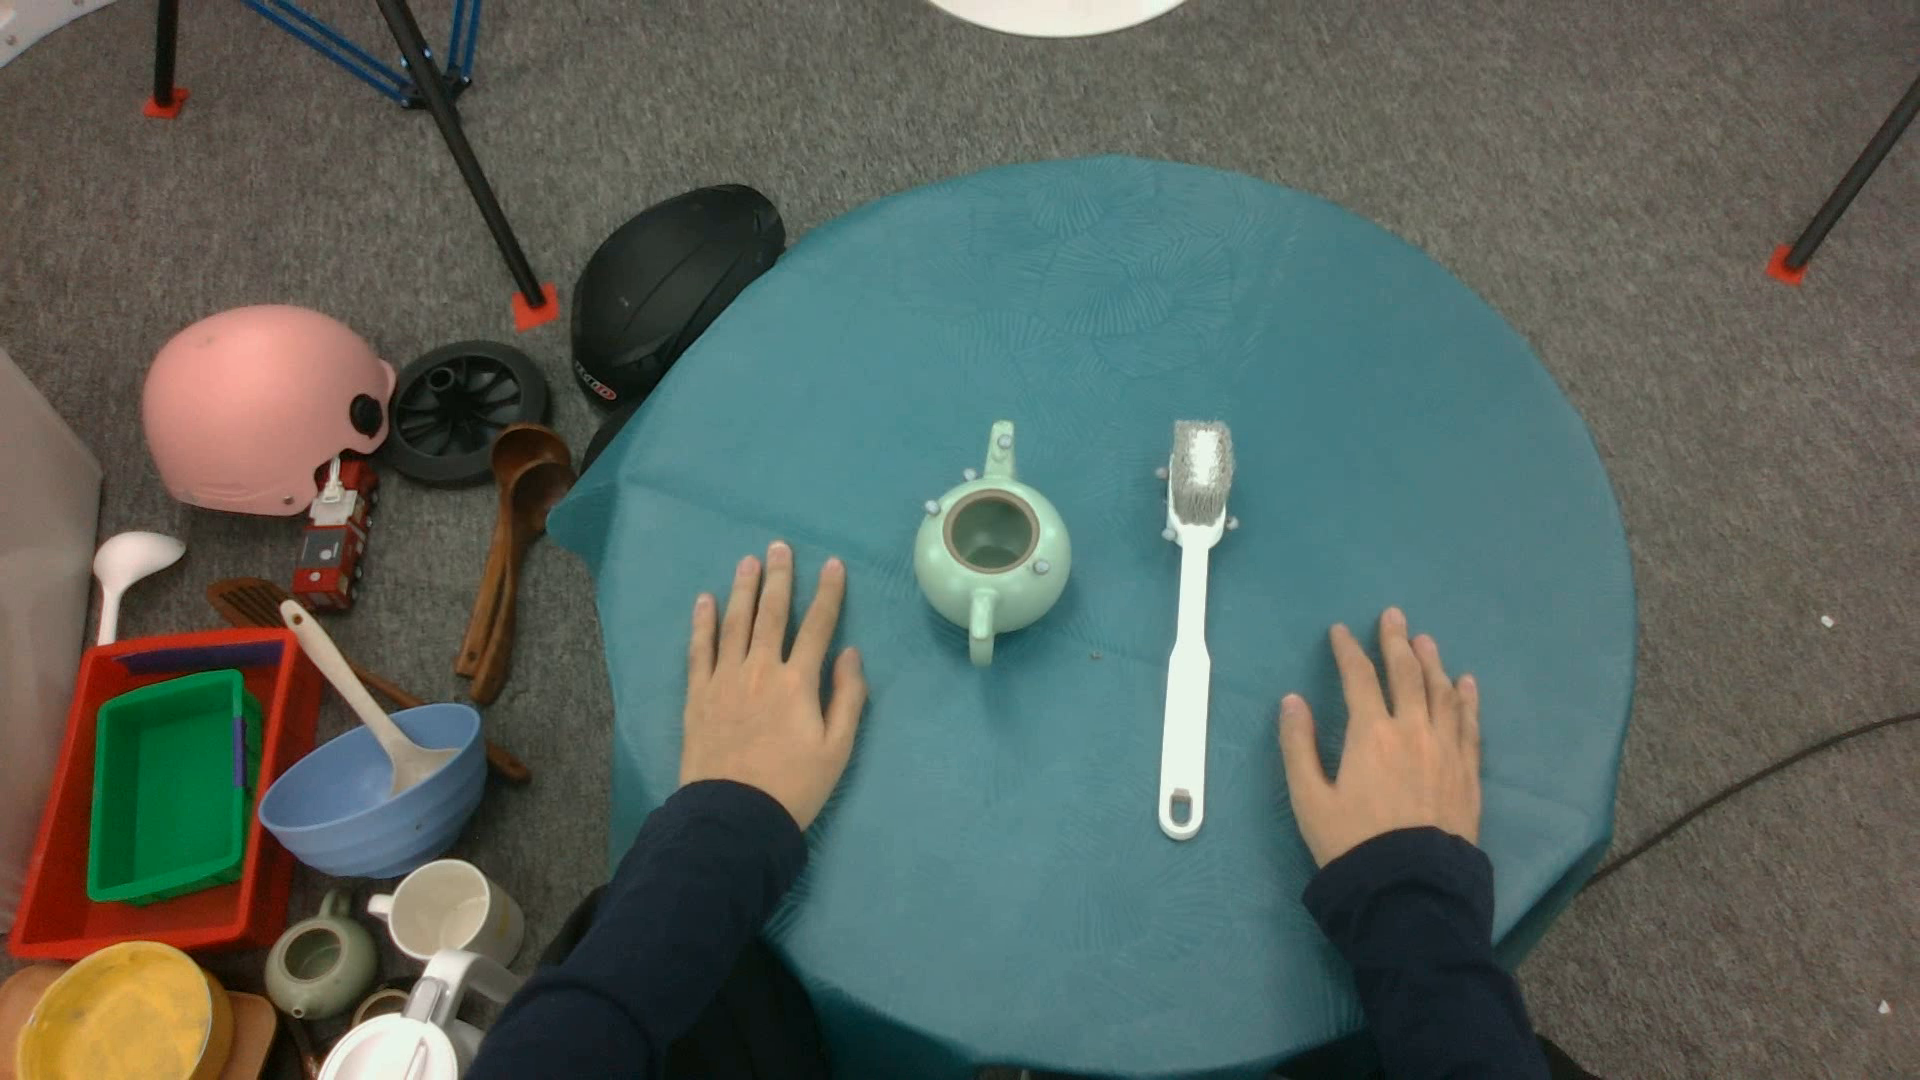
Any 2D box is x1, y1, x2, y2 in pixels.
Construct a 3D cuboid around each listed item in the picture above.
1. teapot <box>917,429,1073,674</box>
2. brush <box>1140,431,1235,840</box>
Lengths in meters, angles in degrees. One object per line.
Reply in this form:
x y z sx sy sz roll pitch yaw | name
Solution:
0.020 0.013 0.781 0.088 0.074 0.144 7 60 5 | teapot
0.127 0.044 0.772 0.034 0.050 0.244 10 61 3 | brush
